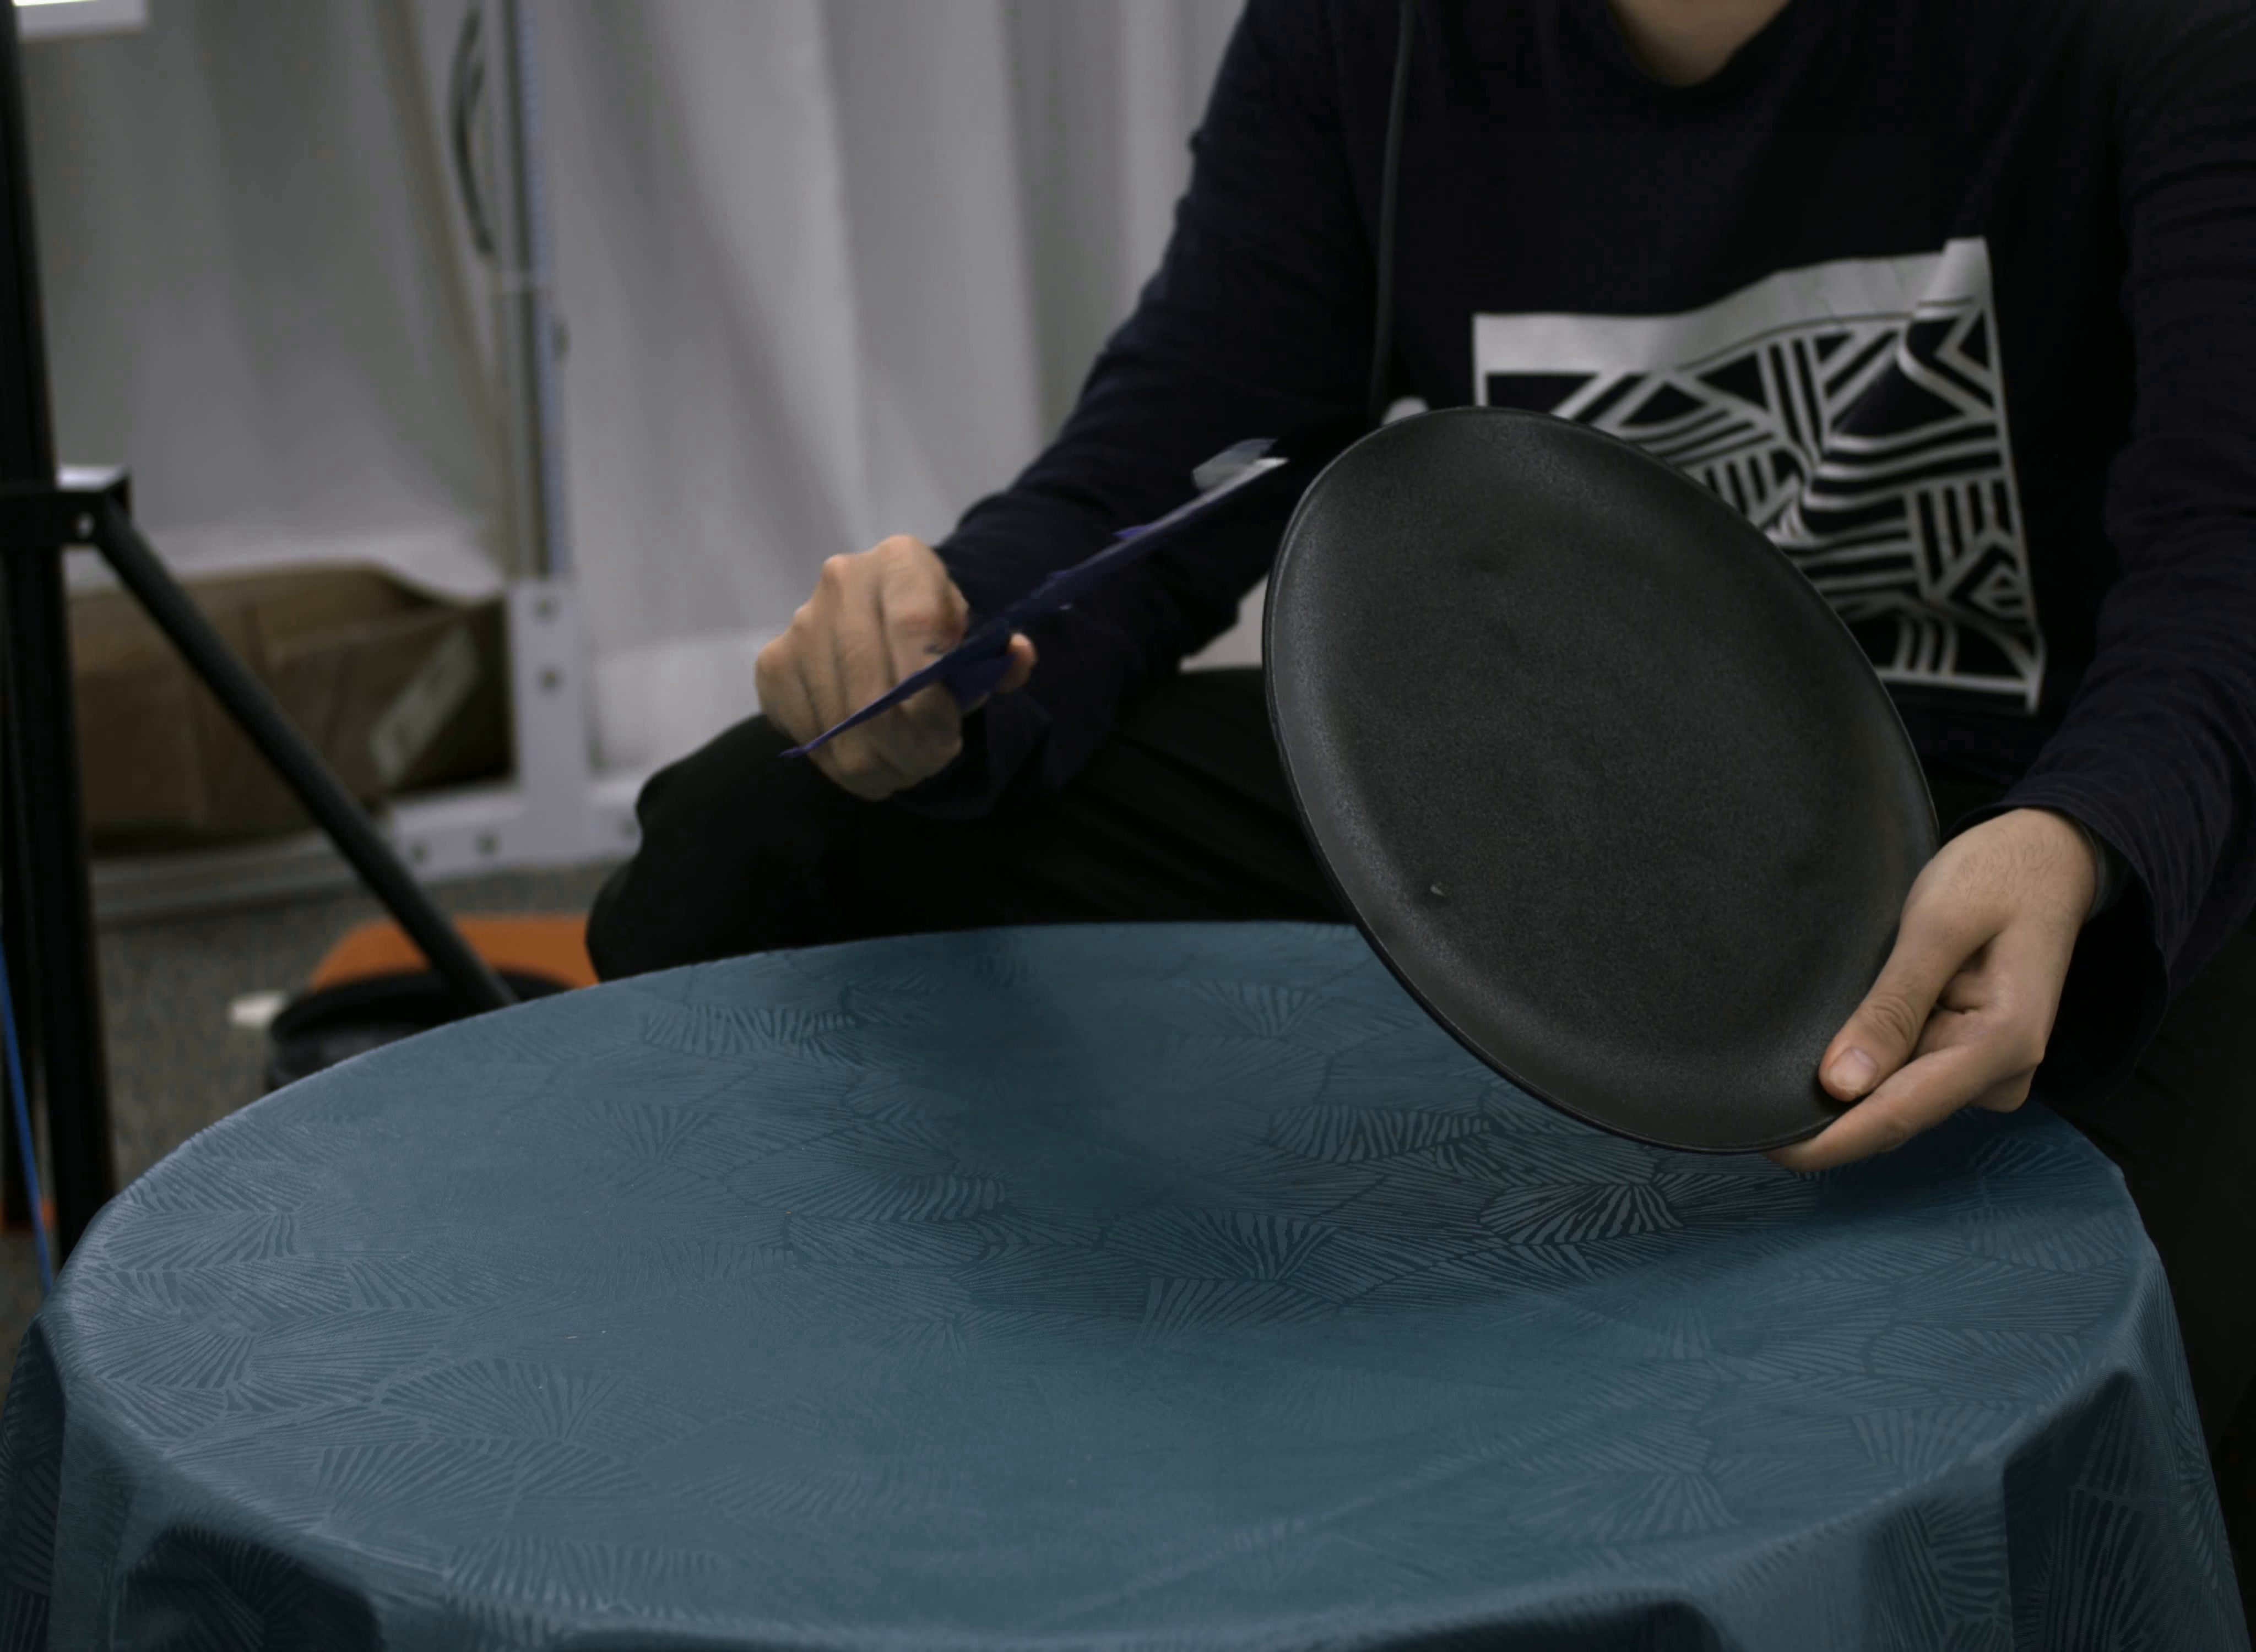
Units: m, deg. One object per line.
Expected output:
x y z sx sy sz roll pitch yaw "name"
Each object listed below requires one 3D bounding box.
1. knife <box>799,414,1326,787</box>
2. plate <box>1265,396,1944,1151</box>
-0.050 -0.058 1.655 0.102 0.032 0.319 -28 -2 -31 "knife"
0.137 -0.014 1.545 0.239 0.247 0.024 -16 -18 -39 "plate"
